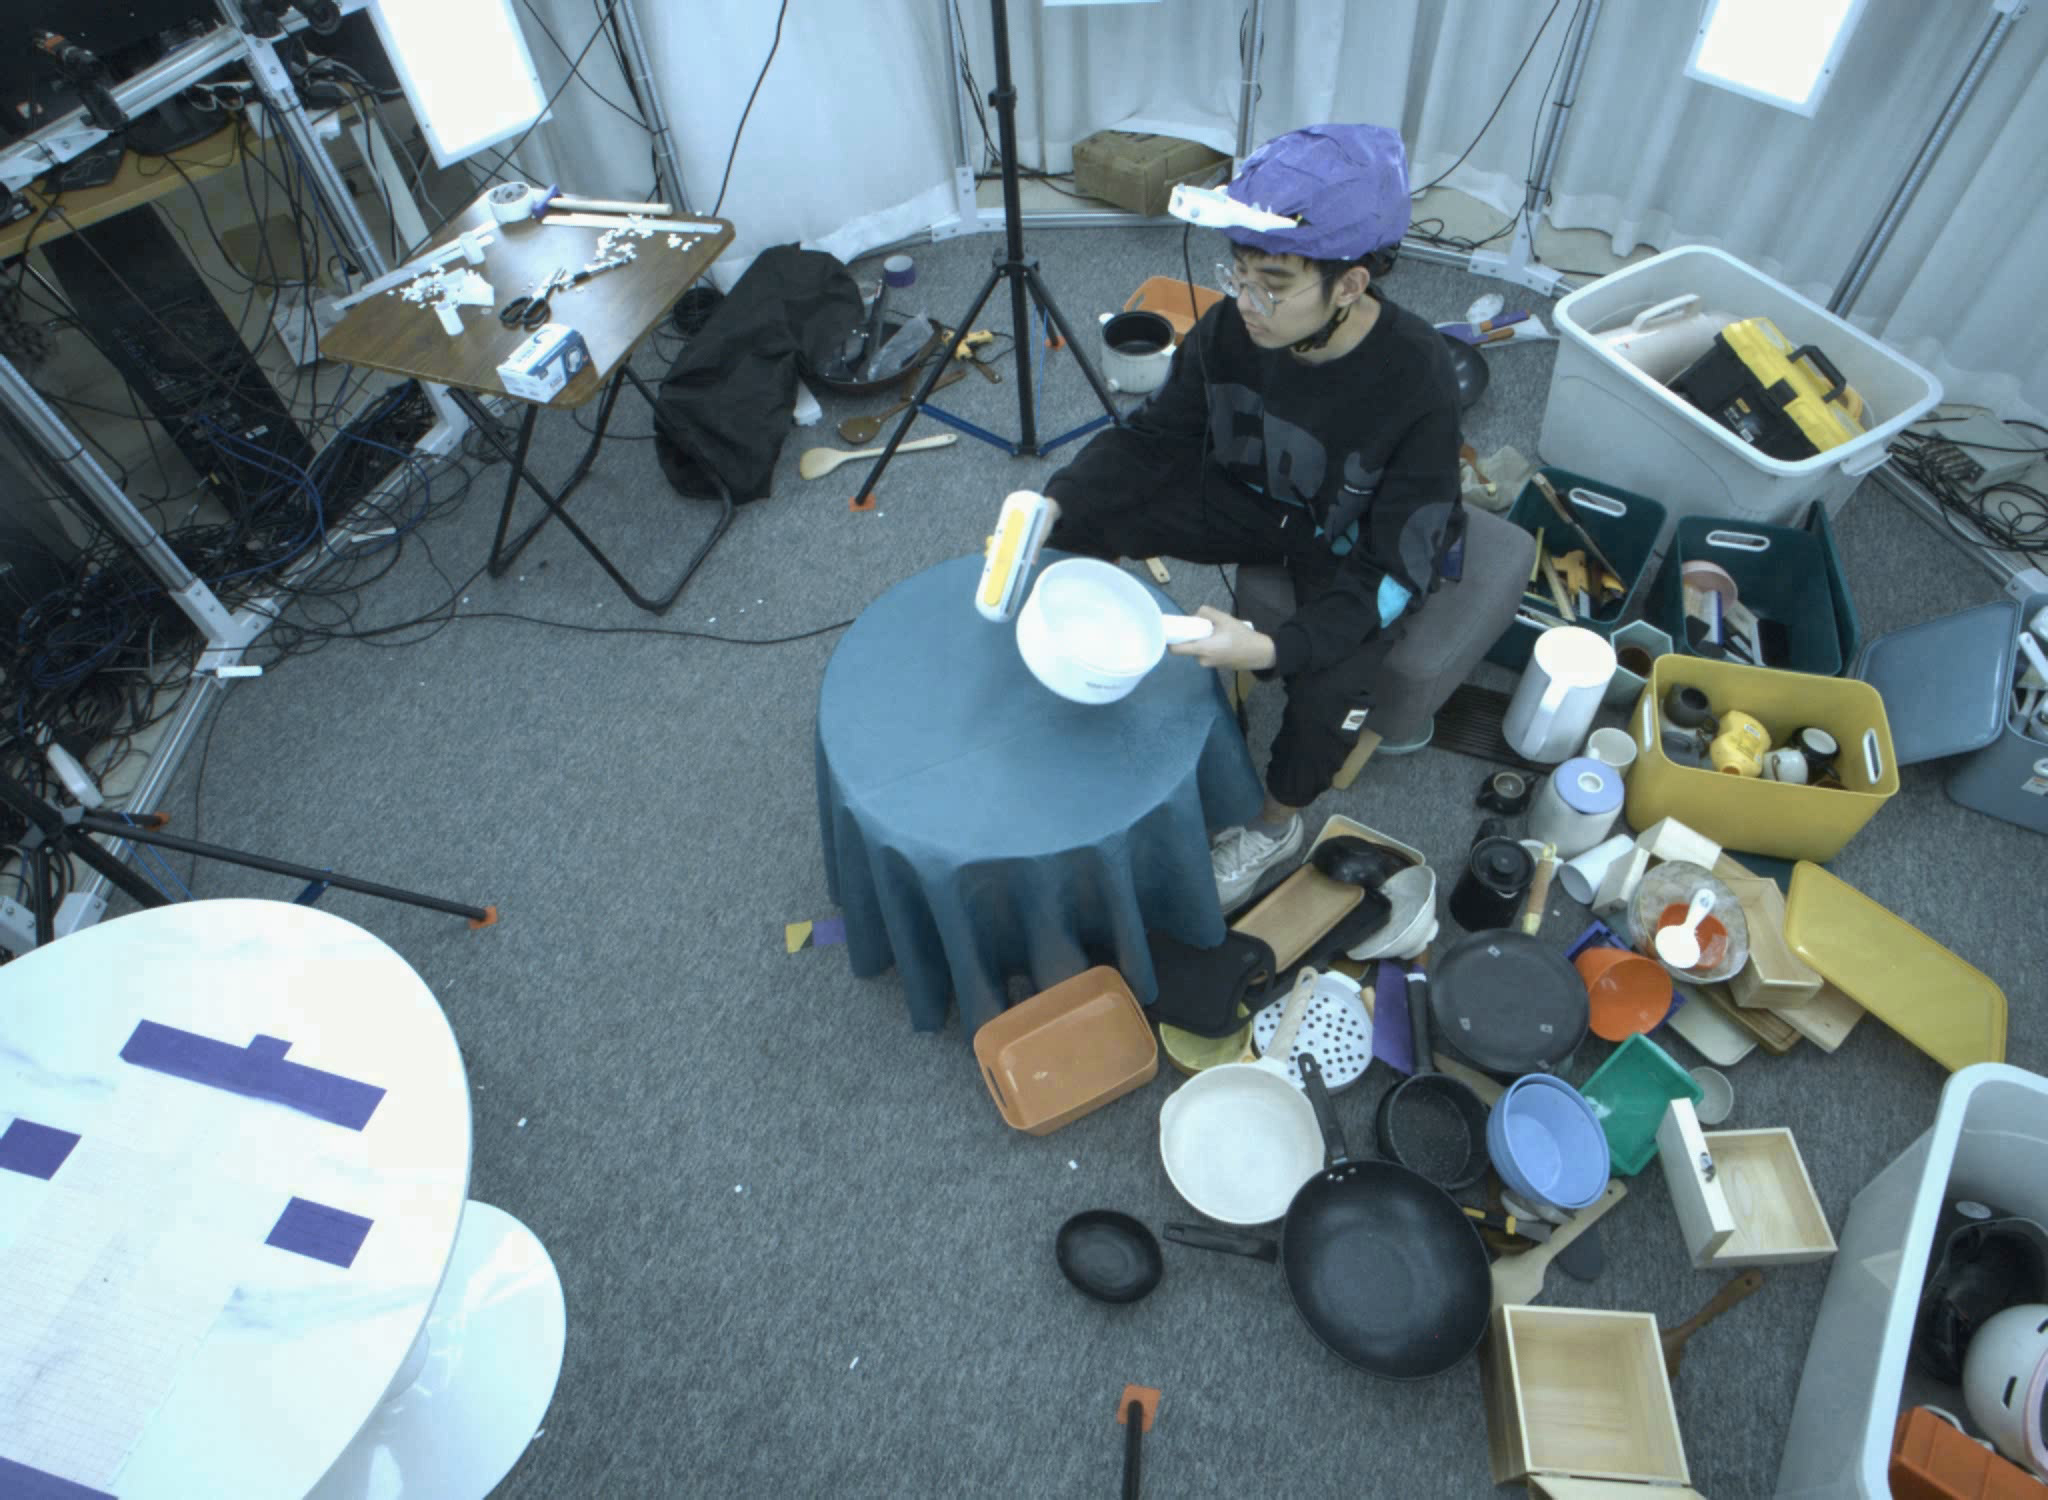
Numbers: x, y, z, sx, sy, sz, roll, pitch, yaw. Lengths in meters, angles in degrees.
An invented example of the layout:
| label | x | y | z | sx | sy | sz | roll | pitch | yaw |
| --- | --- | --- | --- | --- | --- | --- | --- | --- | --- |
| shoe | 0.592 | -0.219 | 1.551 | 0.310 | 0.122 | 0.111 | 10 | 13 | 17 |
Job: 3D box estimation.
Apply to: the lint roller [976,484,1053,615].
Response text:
| label | x | y | z | sx | sy | sz | roll | pitch | yaw |
| --- | --- | --- | --- | --- | --- | --- | --- | --- | --- |
| lint roller | -0.006 | -0.295 | 1.814 | 0.073 | 0.194 | 0.193 | 18 | 100 | 12 |

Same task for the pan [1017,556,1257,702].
| label | x | y | z | sx | sy | sz | roll | pitch | yaw |
| --- | --- | --- | --- | --- | --- | --- | --- | --- | --- |
| pan | 0.159 | -0.160 | 1.754 | 0.361 | 0.101 | 0.198 | 3 | 58 | -27 |
